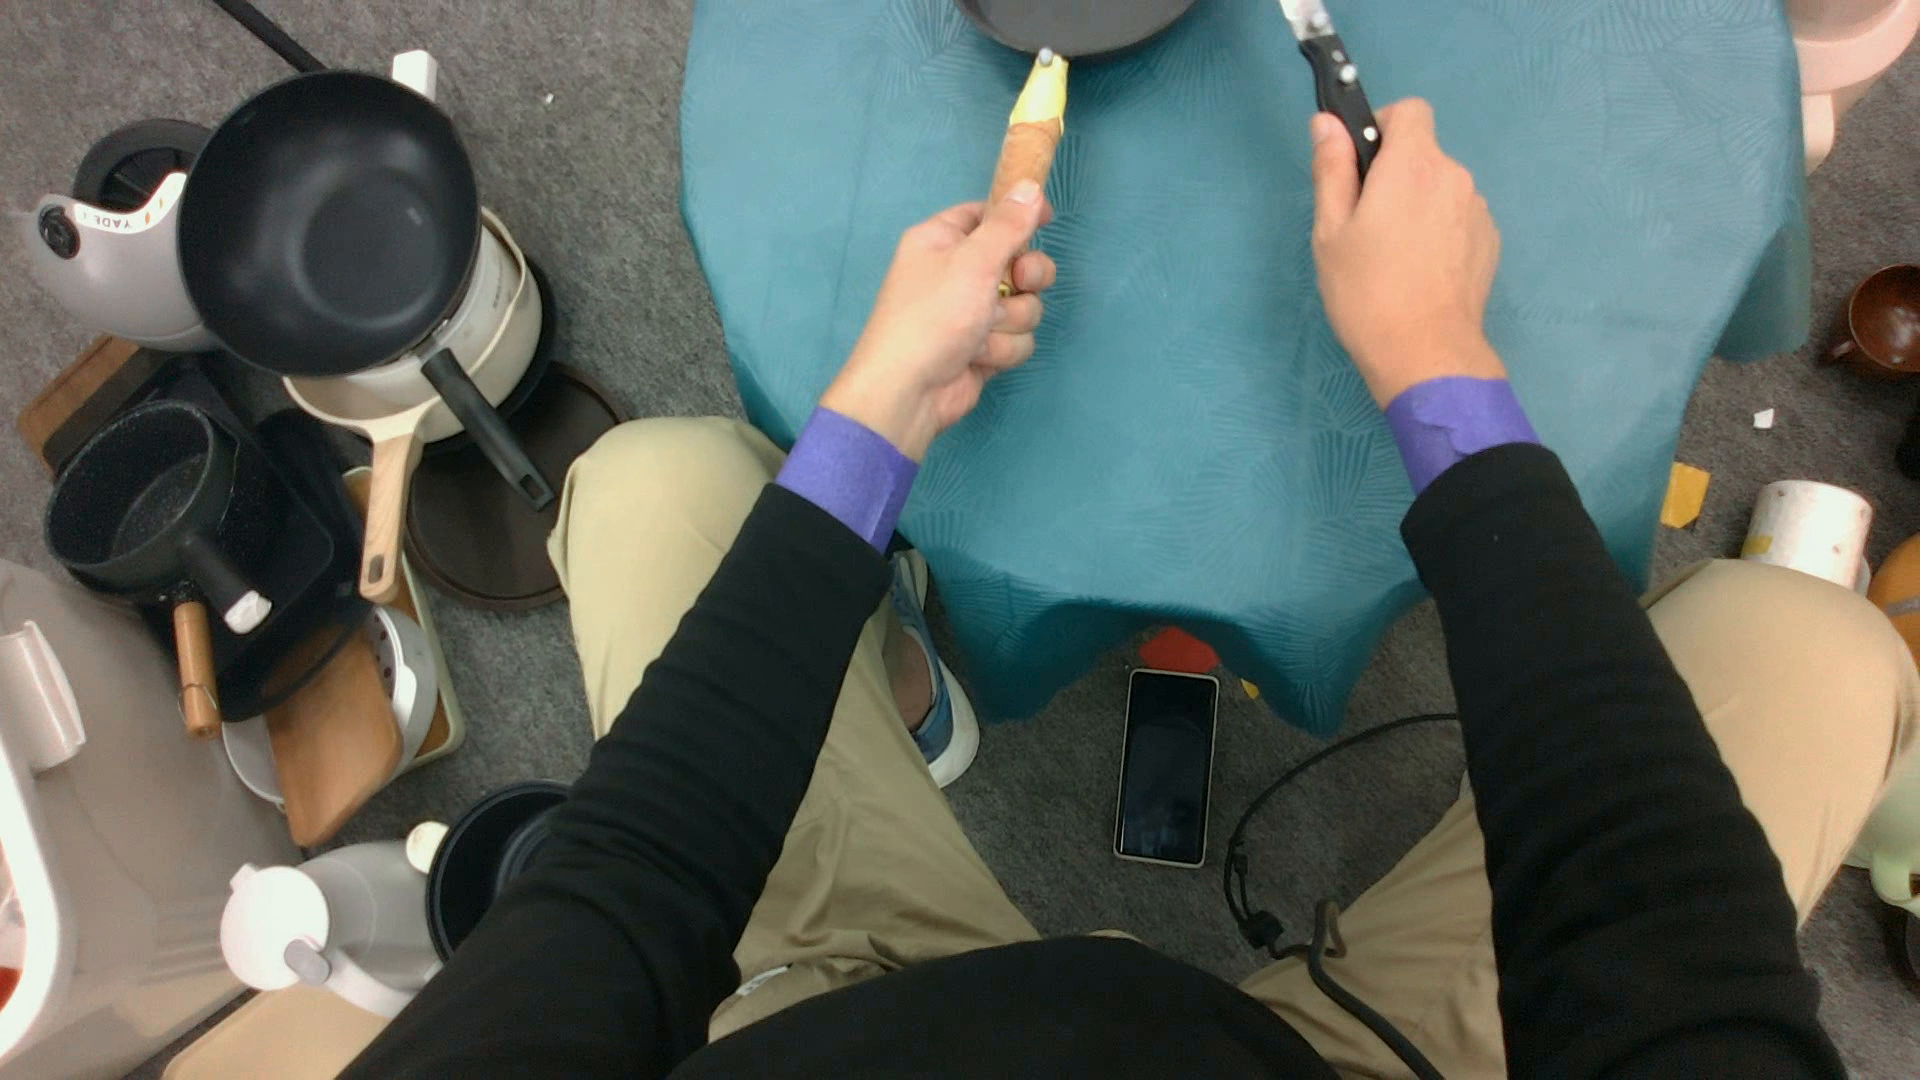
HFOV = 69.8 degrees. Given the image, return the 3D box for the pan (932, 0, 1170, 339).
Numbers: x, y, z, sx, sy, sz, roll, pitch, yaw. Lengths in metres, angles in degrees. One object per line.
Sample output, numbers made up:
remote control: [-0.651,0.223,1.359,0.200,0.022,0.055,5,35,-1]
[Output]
pan: [0.033,-0.250,0.731,0.169,0.049,0.325,11,75,12]

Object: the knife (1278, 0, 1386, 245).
knife: [0.173,-0.261,0.691,0.024,0.016,0.238,-13,82,-17]
